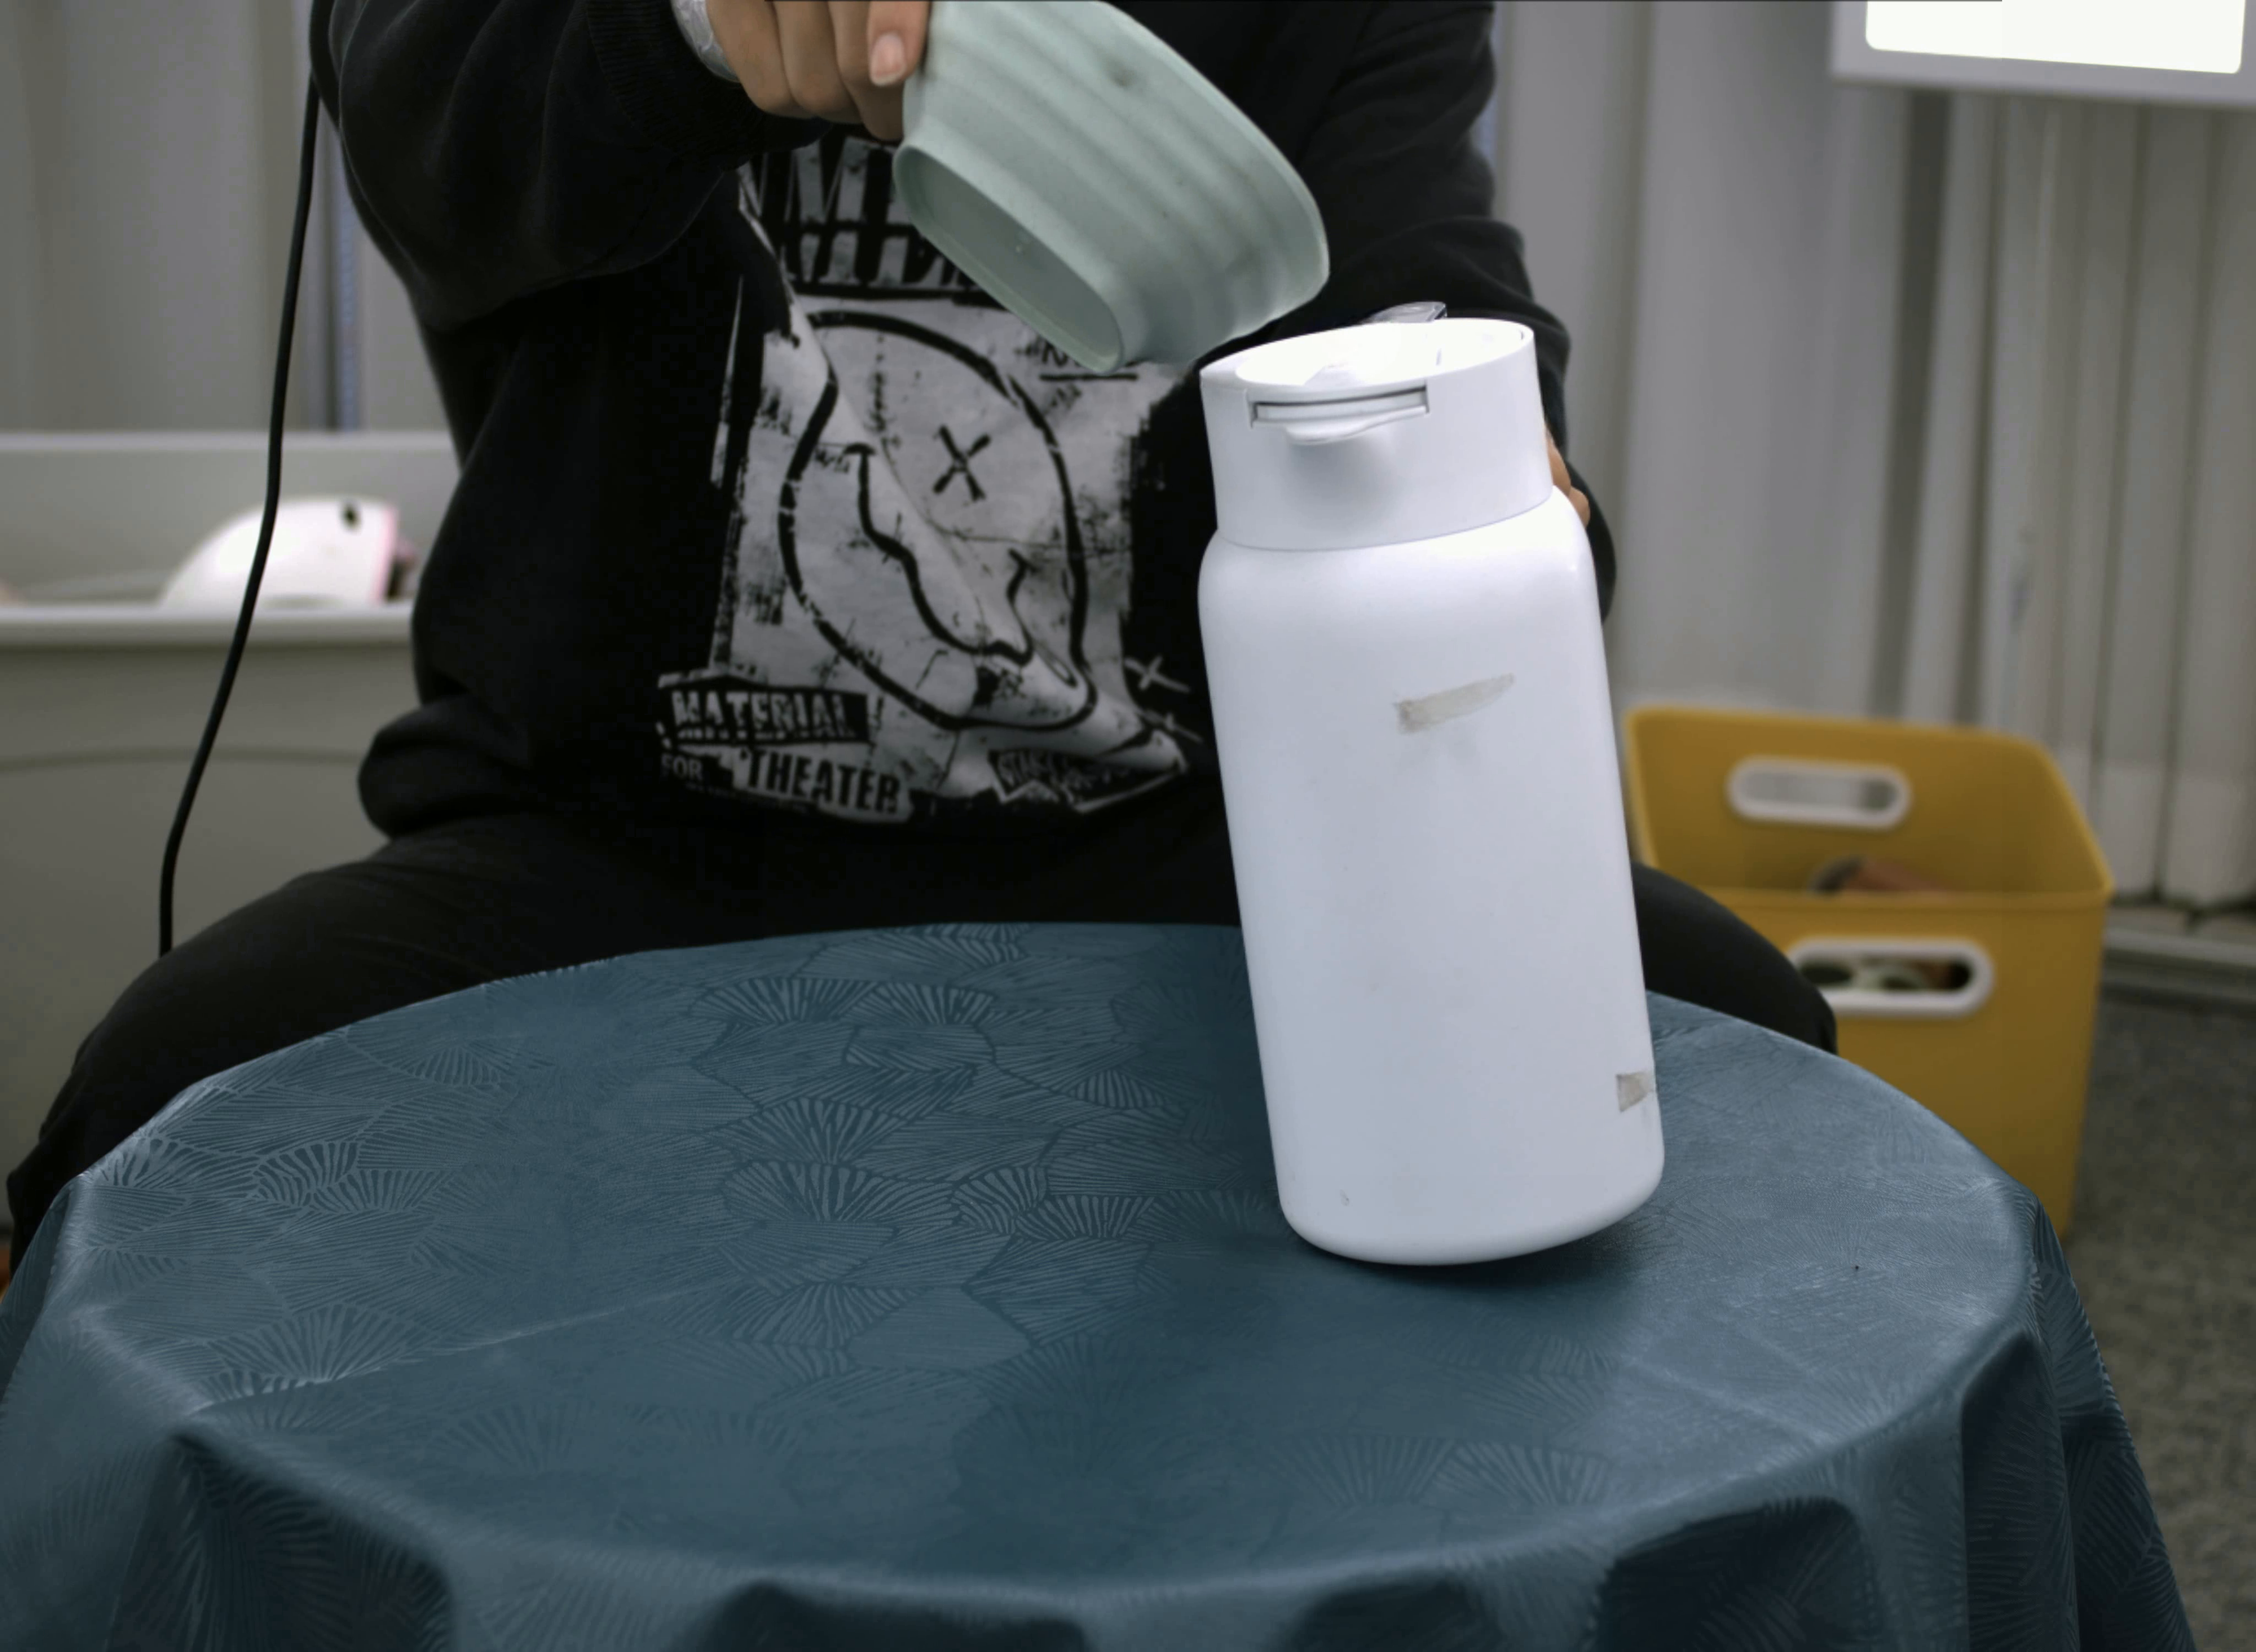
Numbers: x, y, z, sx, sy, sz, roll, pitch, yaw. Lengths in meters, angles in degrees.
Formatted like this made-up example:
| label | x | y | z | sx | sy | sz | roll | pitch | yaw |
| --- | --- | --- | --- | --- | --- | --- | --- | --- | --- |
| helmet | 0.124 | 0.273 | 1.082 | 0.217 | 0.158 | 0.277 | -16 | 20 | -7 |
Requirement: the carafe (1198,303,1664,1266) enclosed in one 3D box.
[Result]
| label | x | y | z | sx | sy | sz | roll | pitch | yaw |
| --- | --- | --- | --- | --- | --- | --- | --- | --- | --- |
| carafe | 0.090 | -0.017 | 1.572 | 0.123 | 0.271 | 0.172 | -6 | 16 | 15 |

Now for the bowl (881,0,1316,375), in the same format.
| label | x | y | z | sx | sy | sz | roll | pitch | yaw |
| --- | --- | --- | --- | --- | --- | --- | --- | --- | --- |
| bowl | -0.019 | -0.178 | 1.460 | 0.058 | 0.153 | 0.149 | -50 | 34 | -11 |
